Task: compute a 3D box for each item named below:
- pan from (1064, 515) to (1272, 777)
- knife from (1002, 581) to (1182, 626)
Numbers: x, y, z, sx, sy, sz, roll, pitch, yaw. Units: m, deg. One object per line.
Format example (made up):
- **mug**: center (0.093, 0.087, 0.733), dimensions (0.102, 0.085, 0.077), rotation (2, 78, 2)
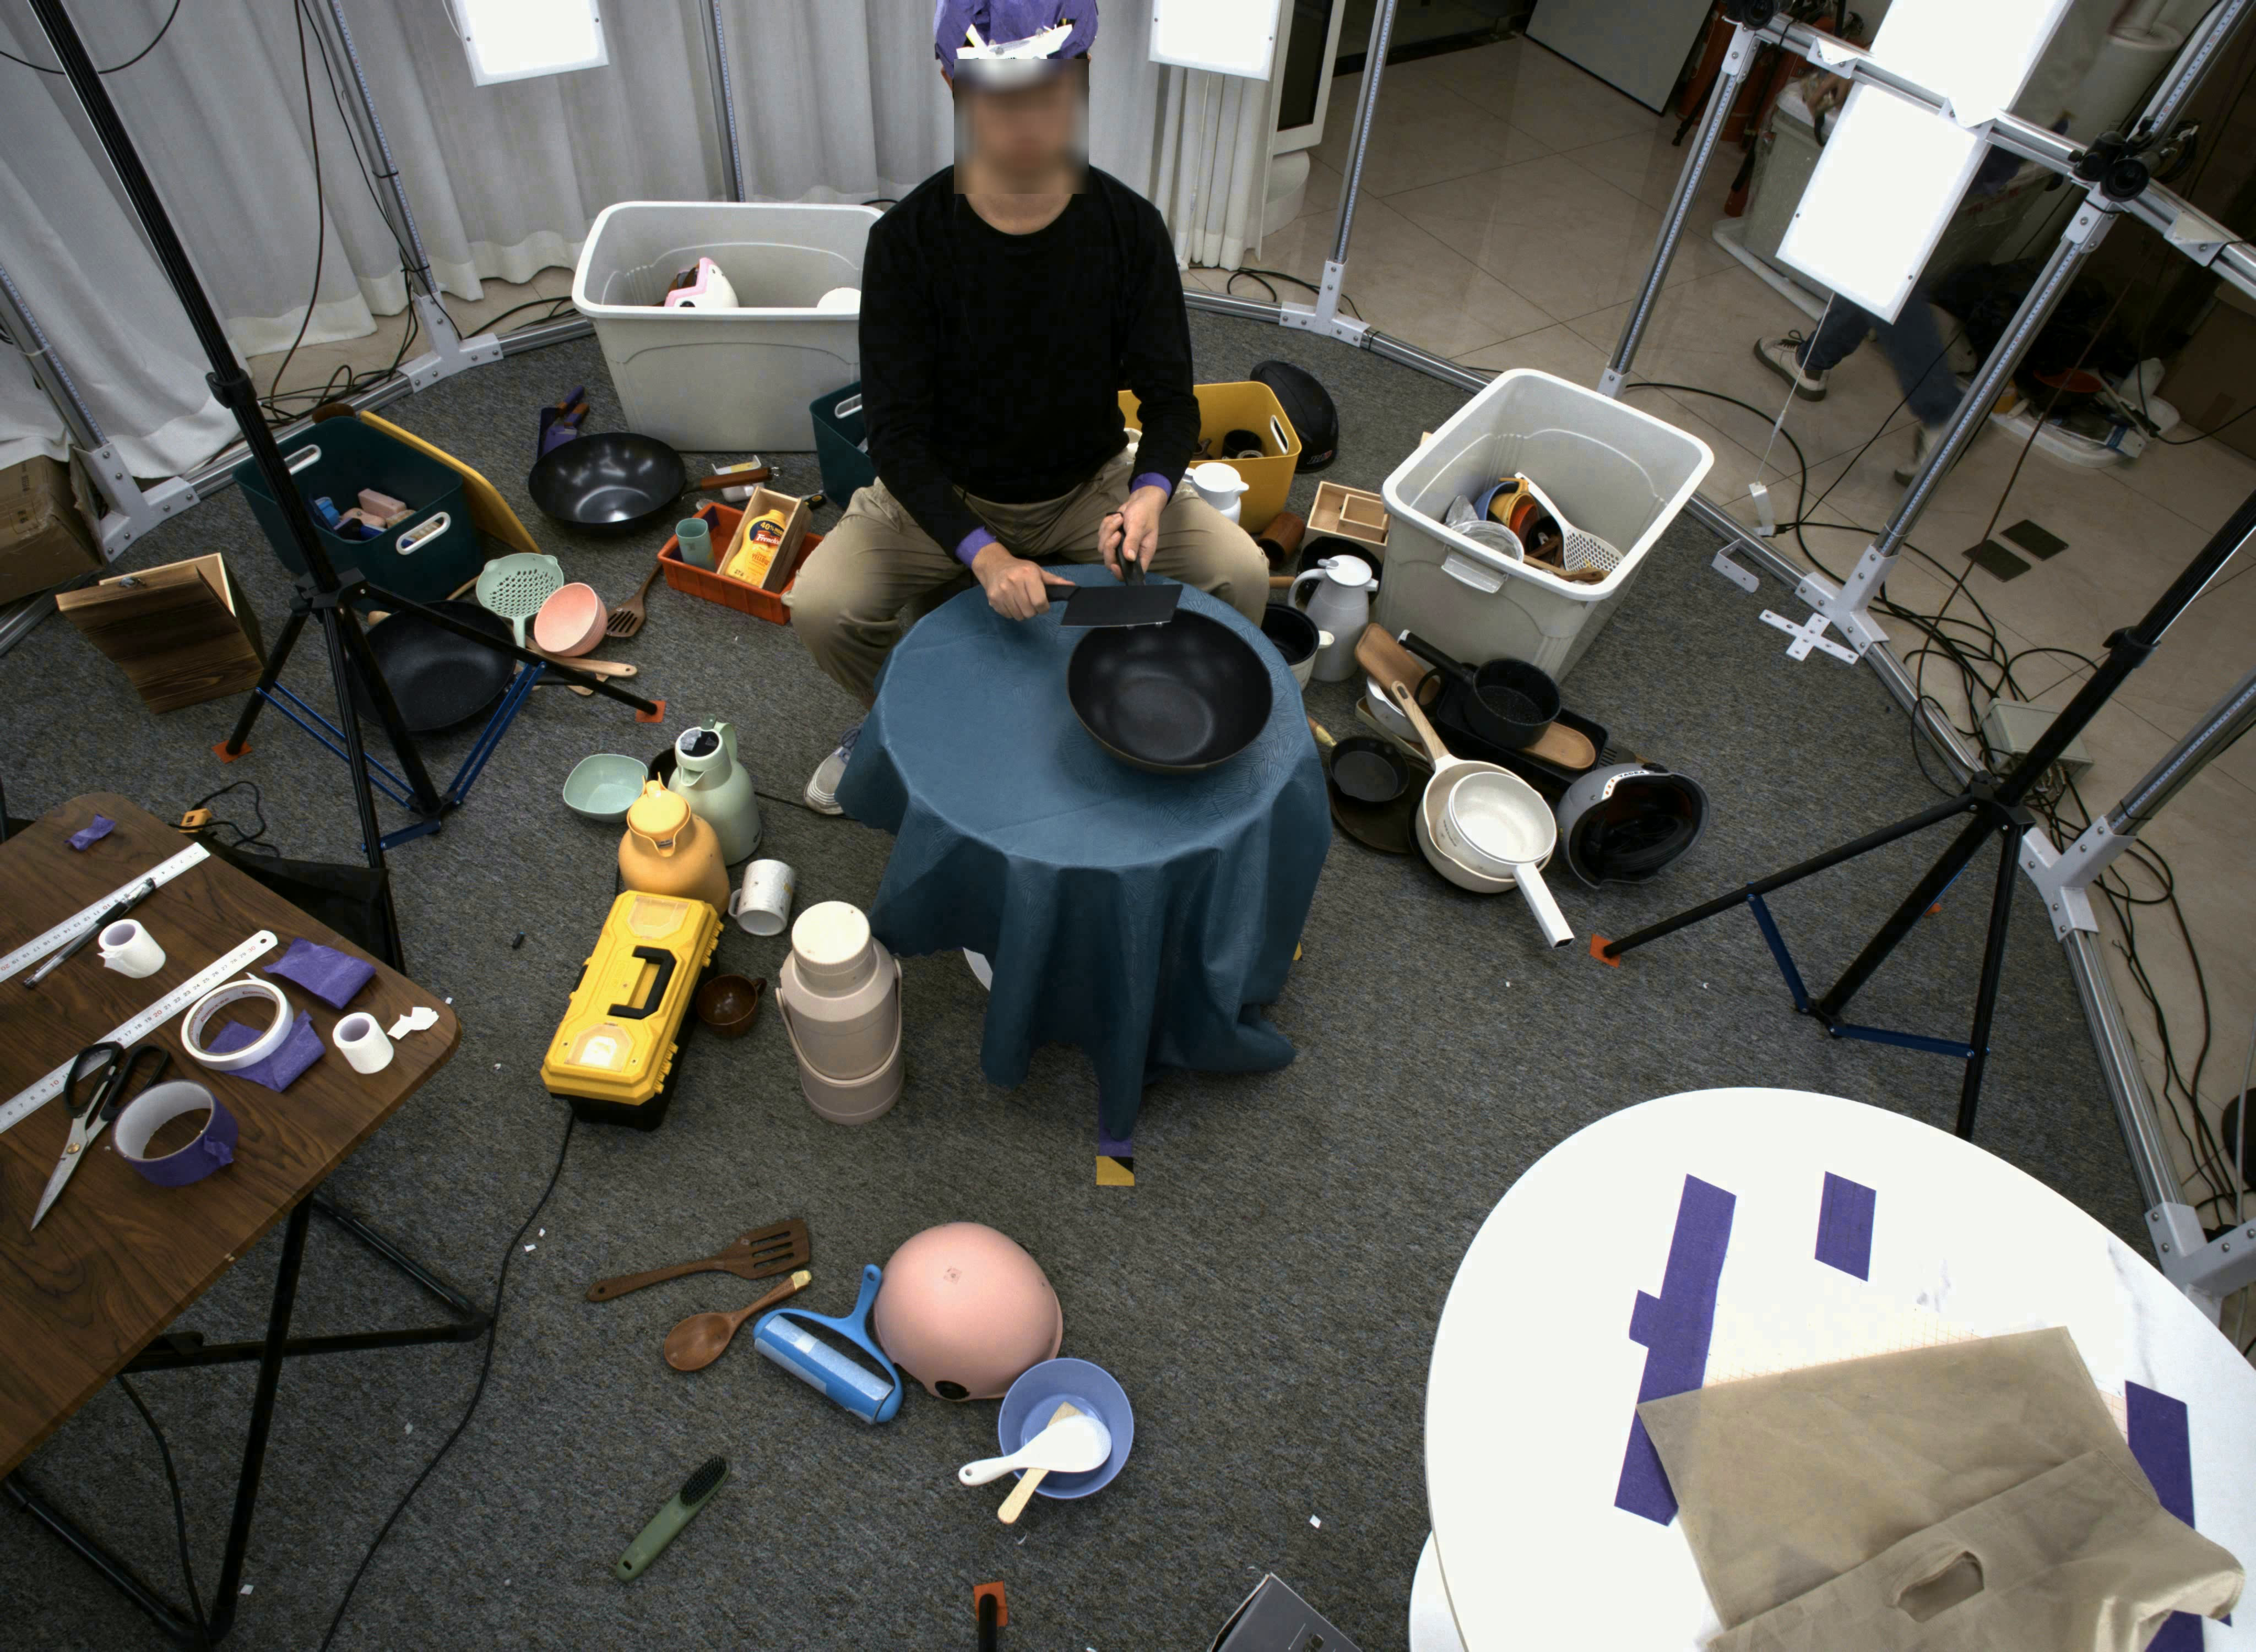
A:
- **pan**: center (0.030, -0.246, 1.804), dimensions (0.288, 0.085, 0.474), rotation (-7, 57, -13)
- **knife**: center (-0.057, -0.312, 1.794), dimensions (0.305, 0.020, 0.082), rotation (10, 67, 36)
